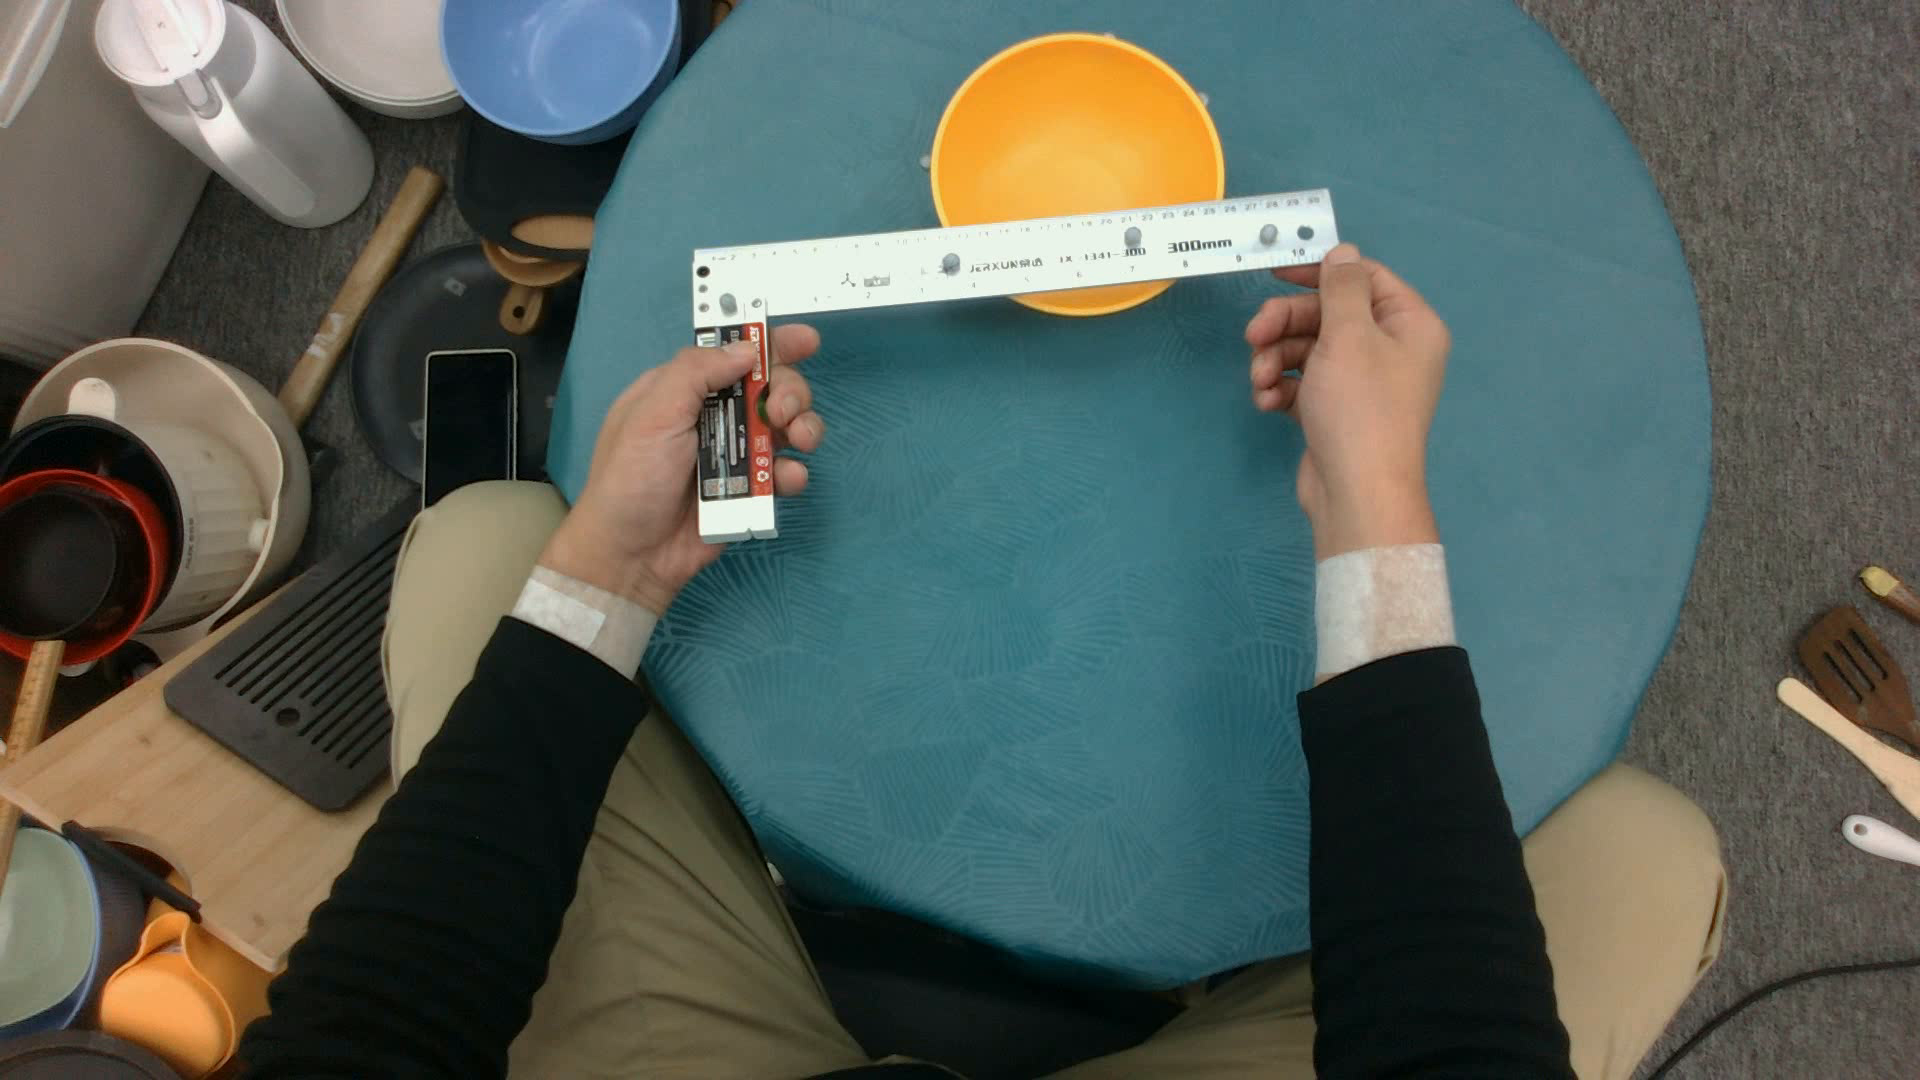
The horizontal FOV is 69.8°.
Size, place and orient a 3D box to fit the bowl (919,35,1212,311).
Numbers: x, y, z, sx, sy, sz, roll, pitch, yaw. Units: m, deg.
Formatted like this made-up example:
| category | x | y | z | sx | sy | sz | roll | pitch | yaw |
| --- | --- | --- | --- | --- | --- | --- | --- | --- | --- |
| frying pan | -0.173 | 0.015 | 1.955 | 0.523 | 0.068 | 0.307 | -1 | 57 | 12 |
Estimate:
| category | x | y | z | sx | sy | sz | roll | pitch | yaw |
| --- | --- | --- | --- | --- | --- | --- | --- | --- | --- |
| bowl | 0.053 | -0.179 | 0.708 | 0.145 | 0.060 | 0.145 | 0 | 81 | 0 |

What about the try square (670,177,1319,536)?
| category | x | y | z | sx | sy | sz | roll | pitch | yaw |
| --- | --- | --- | --- | --- | --- | --- | --- | --- | --- |
| try square | 0.021 | -0.090 | 0.648 | 0.313 | 0.016 | 0.152 | -6 | 72 | -1 |
